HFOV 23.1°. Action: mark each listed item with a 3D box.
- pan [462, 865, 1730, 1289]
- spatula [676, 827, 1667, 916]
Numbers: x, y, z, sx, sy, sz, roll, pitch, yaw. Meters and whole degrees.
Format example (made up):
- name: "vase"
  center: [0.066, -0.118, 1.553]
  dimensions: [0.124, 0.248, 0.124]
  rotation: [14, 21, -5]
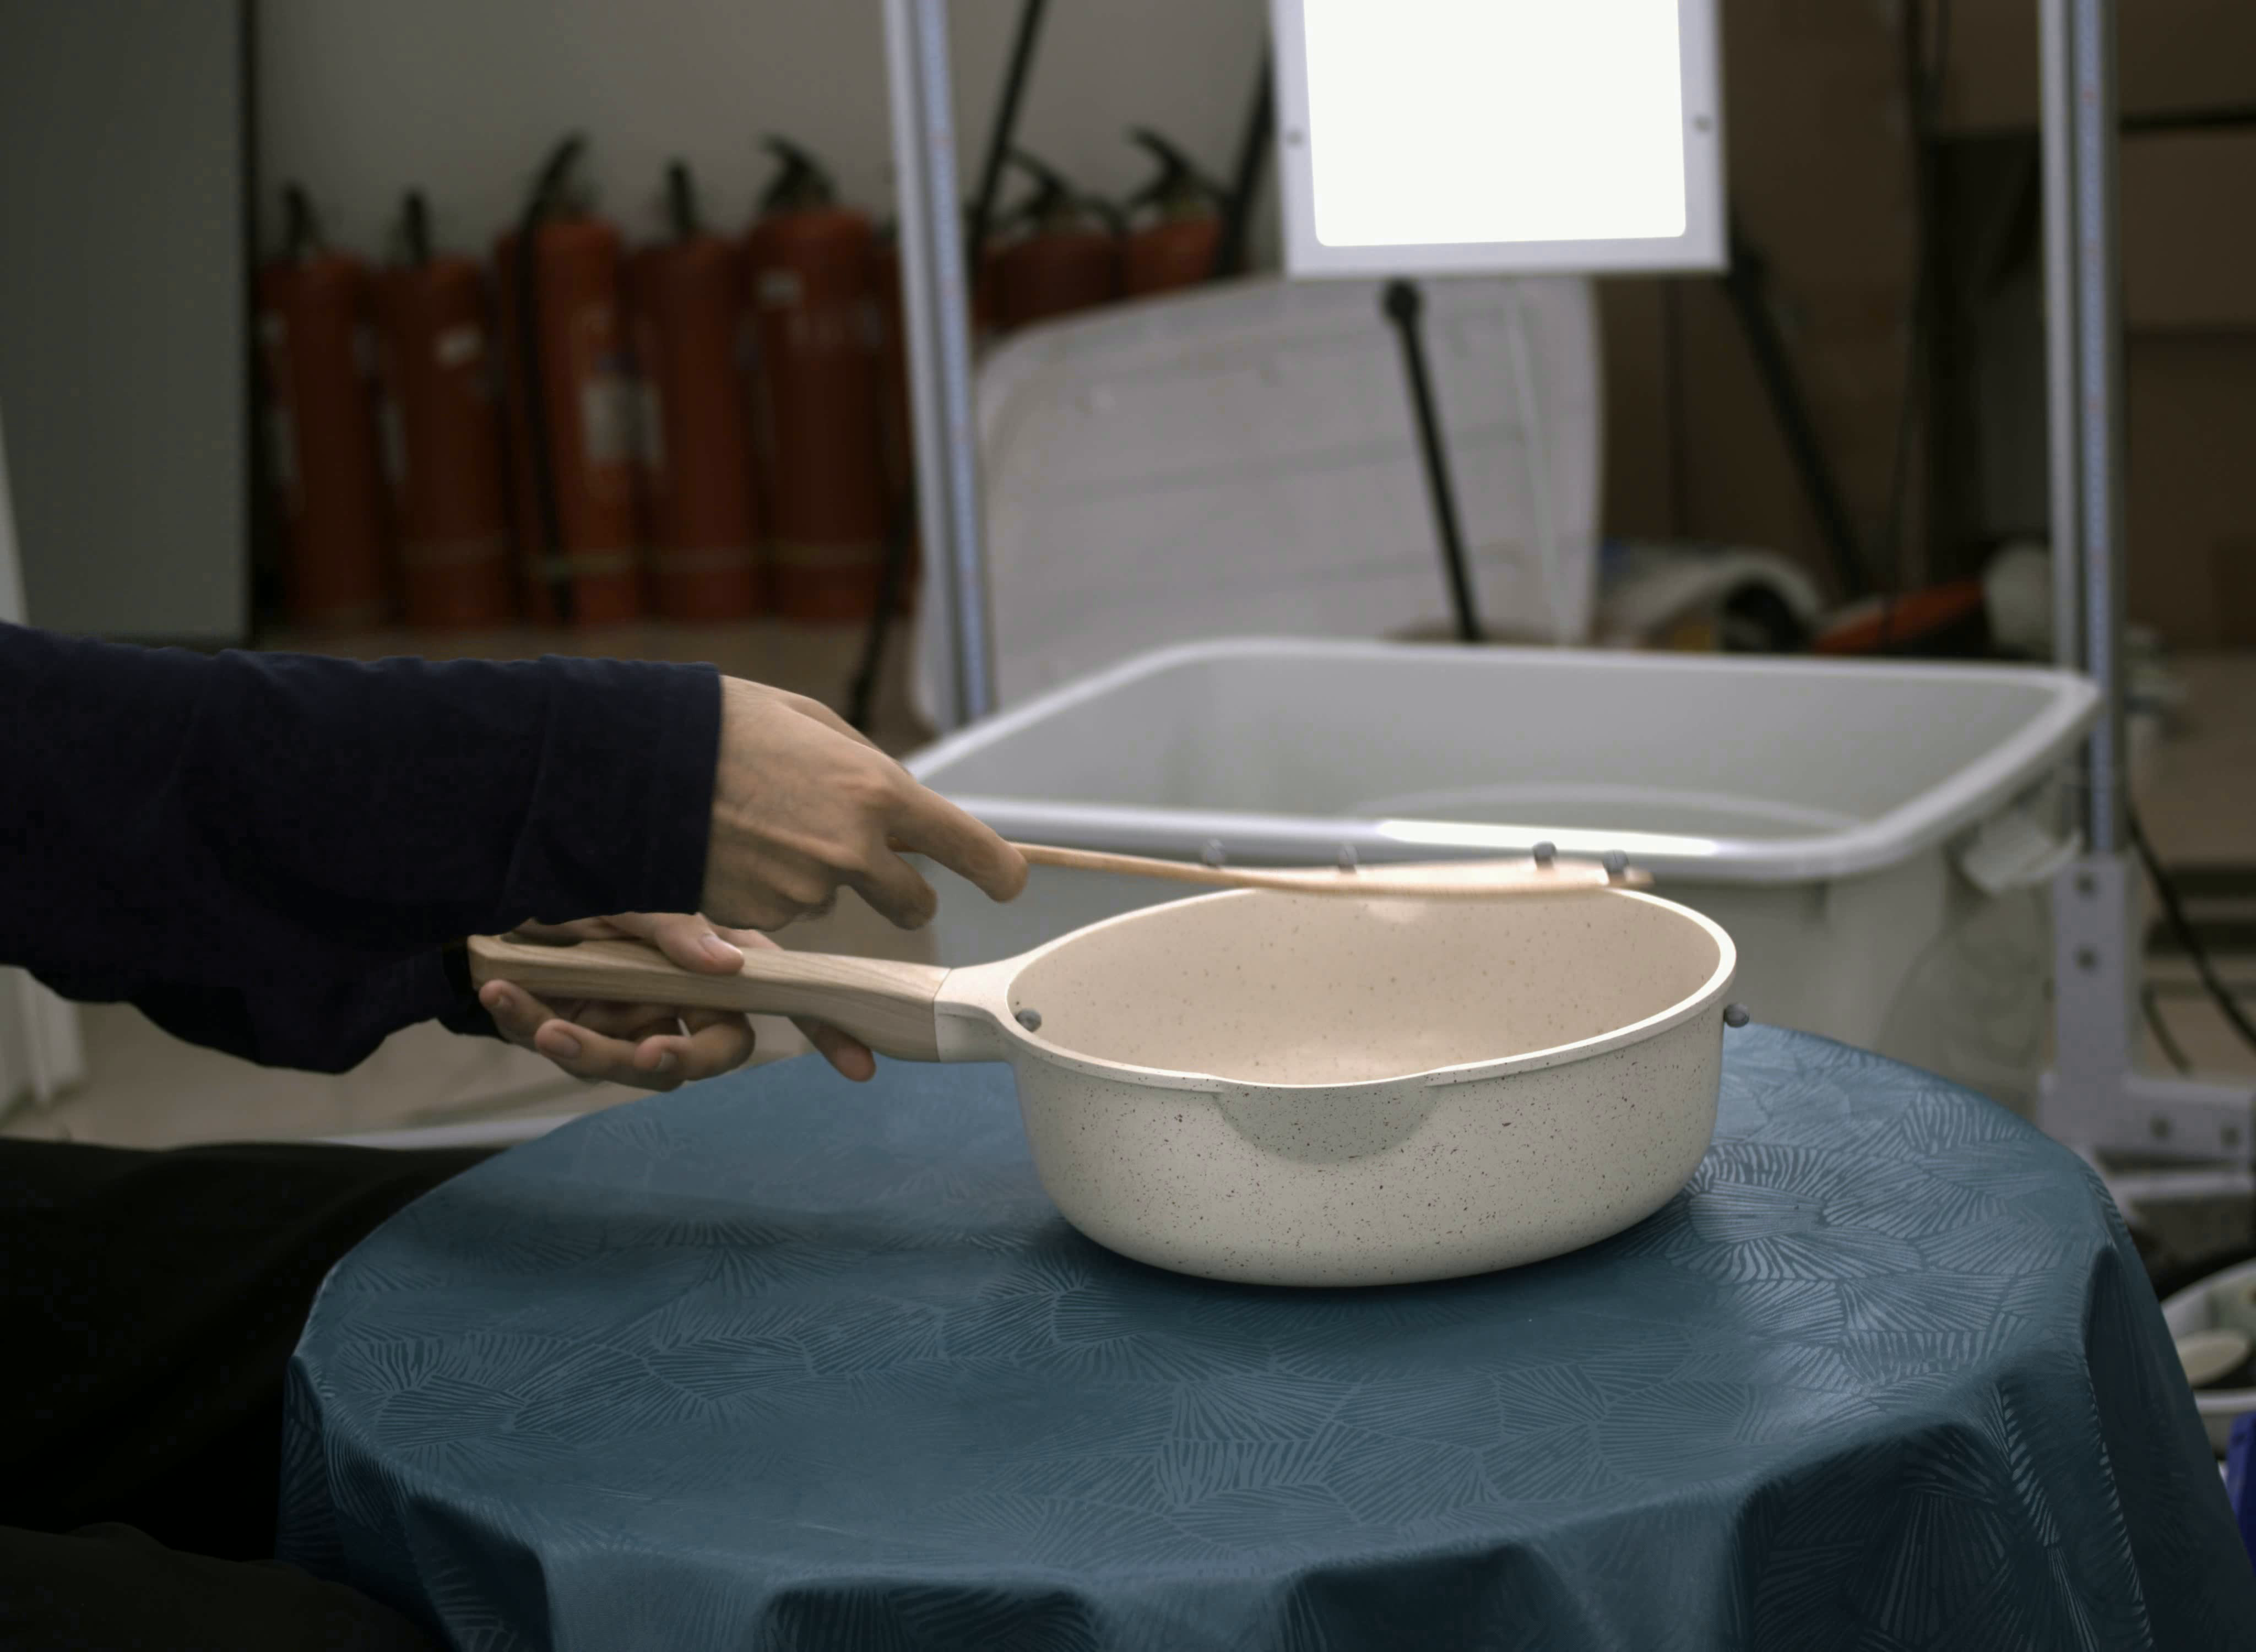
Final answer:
- name: "pan"
  center: [-0.010, 0.084, 1.877]
  dimensions: [0.437, 0.102, 0.261]
  rotation: [-3, 15, 10]
- name: "spatula"
  center: [0.012, 0.013, 1.803]
  dimensions: [0.323, 0.016, 0.080]
  rotation: [5, 4, -13]
